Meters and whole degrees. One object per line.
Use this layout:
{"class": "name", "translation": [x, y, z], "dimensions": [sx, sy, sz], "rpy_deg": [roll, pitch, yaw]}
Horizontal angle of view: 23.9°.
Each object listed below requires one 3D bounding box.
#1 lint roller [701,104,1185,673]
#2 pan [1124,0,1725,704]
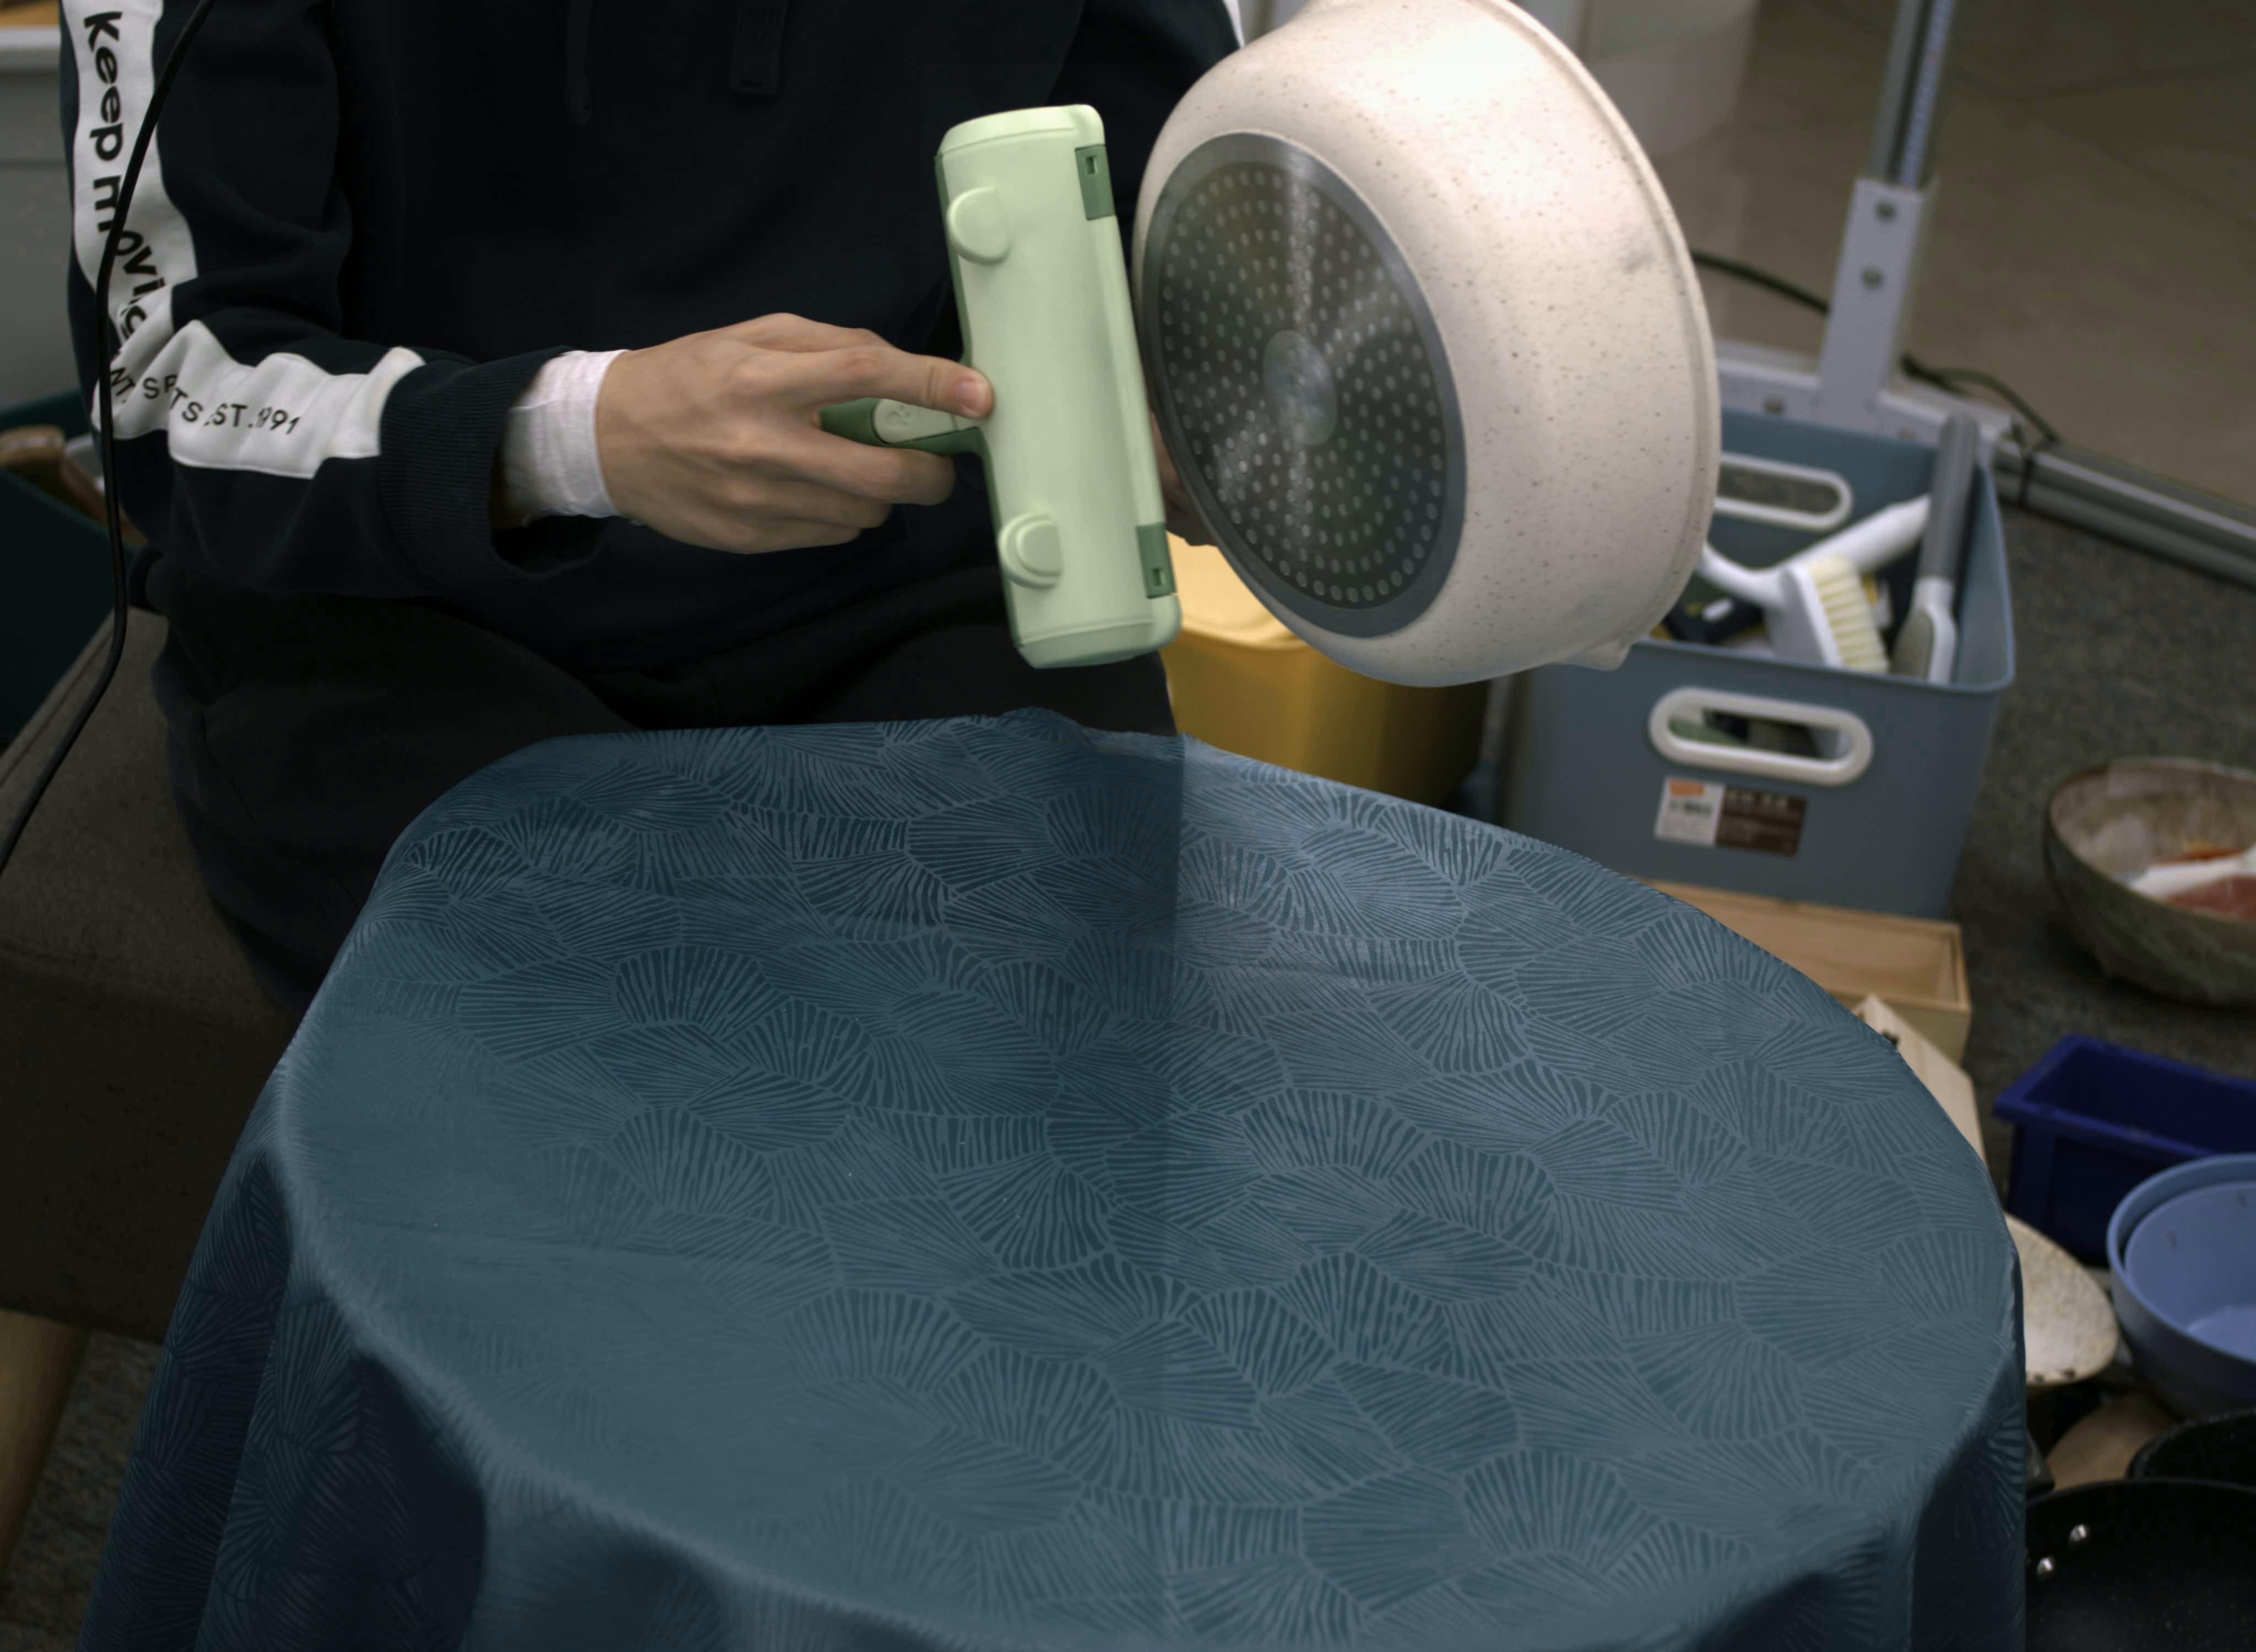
{"class": "lint roller", "translation": [-0.080, -0.144, 1.897], "dimensions": [0.183, 0.199, 0.082], "rpy_deg": [-10, -1, 18]}
{"class": "pan", "translation": [0.054, -0.147, 1.929], "dimensions": [0.101, 0.263, 0.436], "rpy_deg": [-24, 3, -29]}
